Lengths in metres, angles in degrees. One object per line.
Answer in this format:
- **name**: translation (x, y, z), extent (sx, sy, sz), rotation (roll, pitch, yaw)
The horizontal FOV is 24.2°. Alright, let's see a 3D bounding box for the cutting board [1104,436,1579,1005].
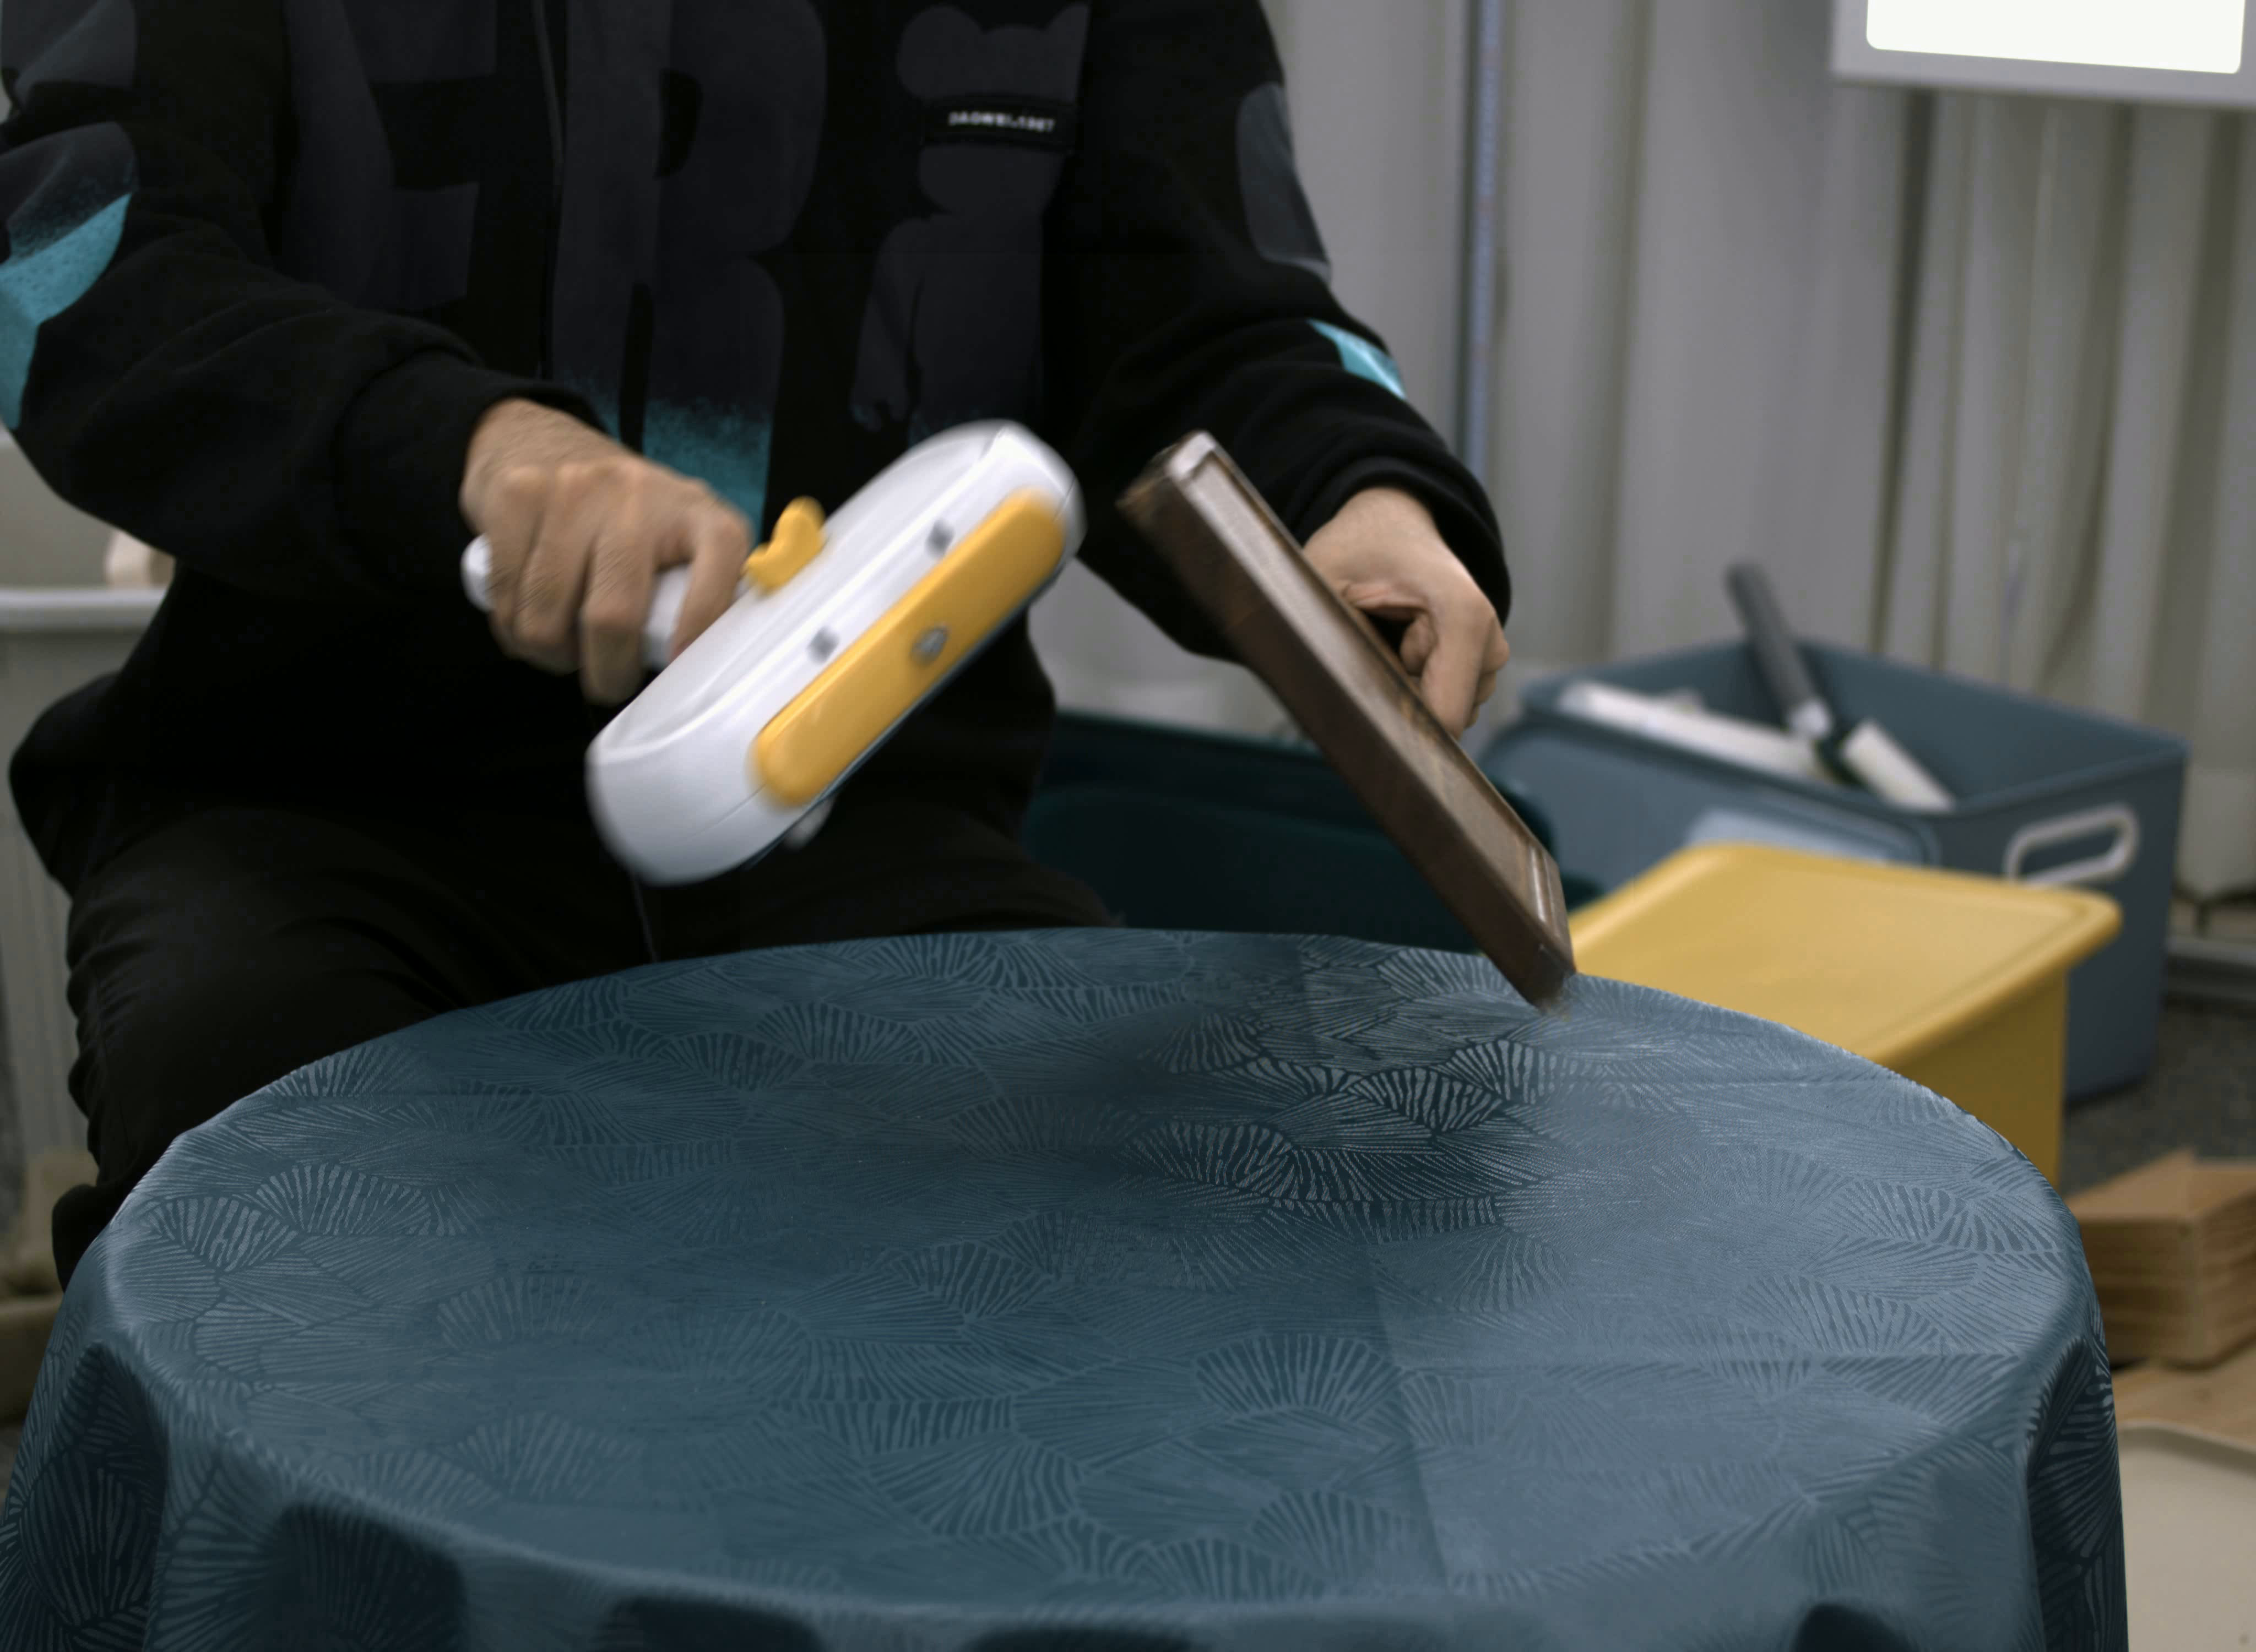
- **cutting board**: translation (0.072, -0.045, 1.721), extent (0.023, 0.201, 0.351), rotation (-41, 3, 6)

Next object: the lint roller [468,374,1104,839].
- **lint roller**: translation (-0.125, -0.072, 1.642), extent (0.190, 0.075, 0.192), rotation (-2, 40, 41)
